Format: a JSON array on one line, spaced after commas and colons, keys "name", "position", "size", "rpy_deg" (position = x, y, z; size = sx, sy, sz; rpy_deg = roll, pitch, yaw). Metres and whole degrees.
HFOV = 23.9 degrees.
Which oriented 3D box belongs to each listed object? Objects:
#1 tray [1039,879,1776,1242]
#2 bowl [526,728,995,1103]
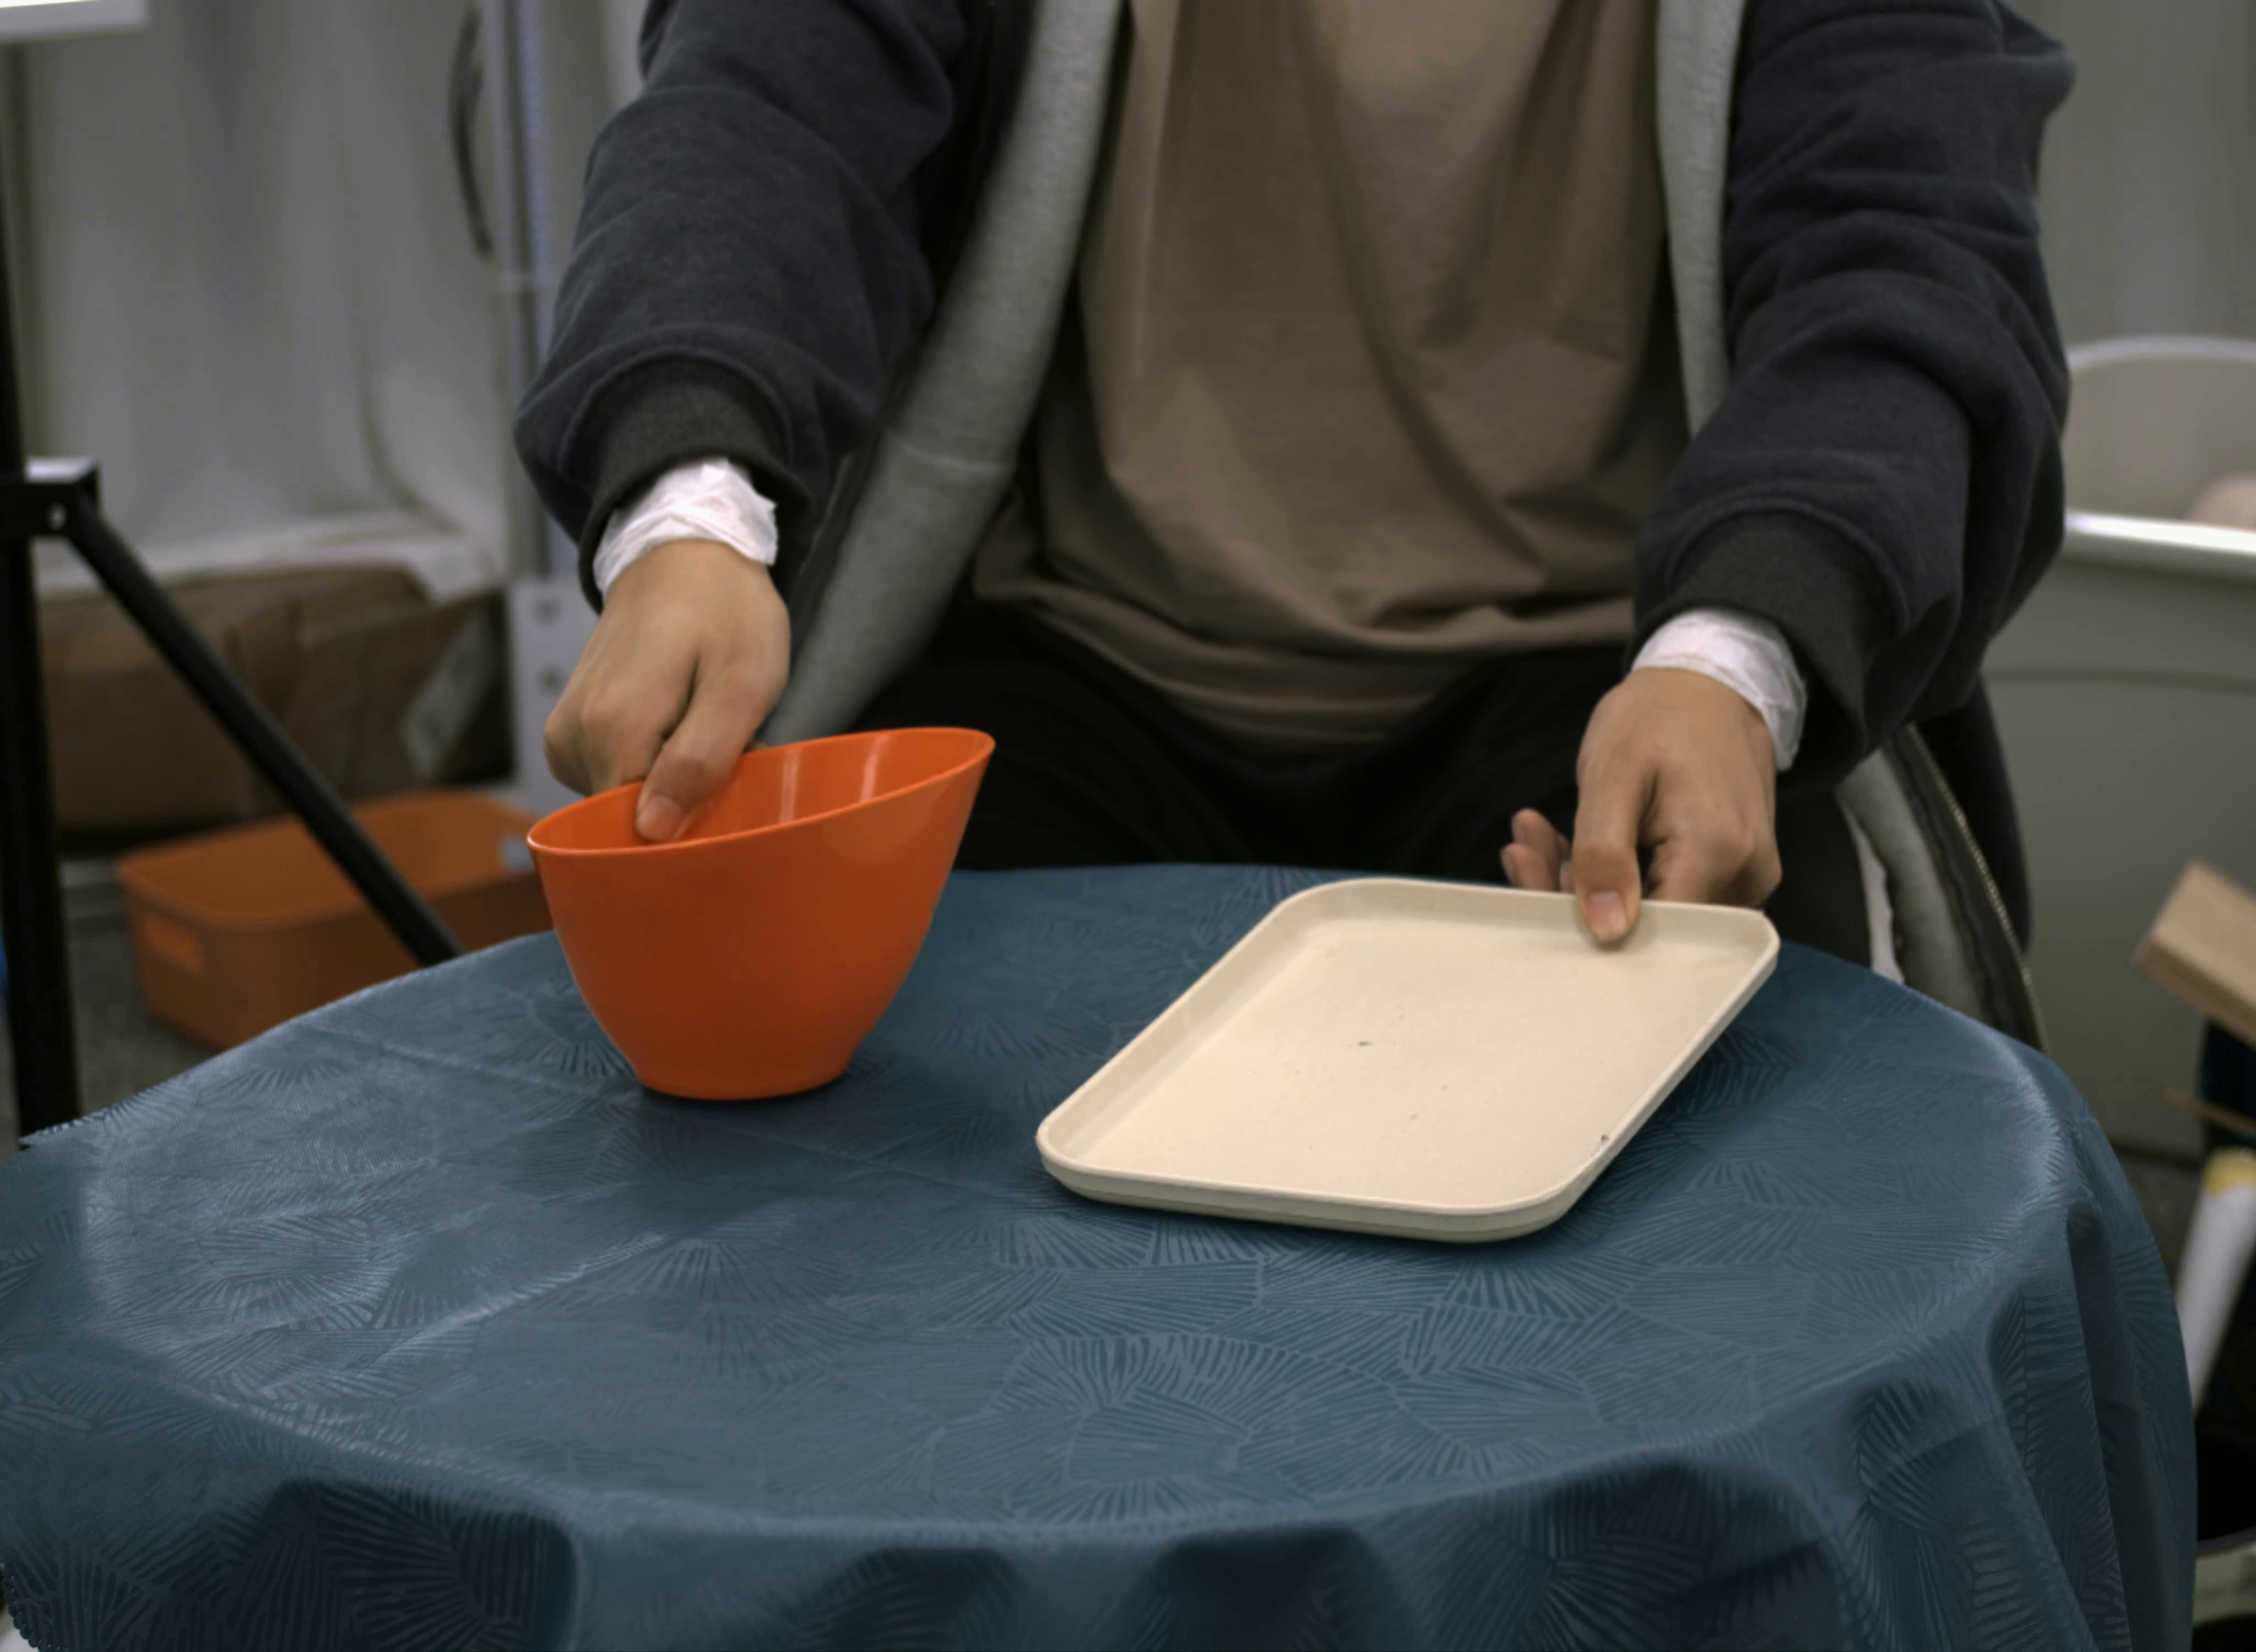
[{"name": "tray", "position": [0.089, 0.070, 1.614], "size": [0.174, 0.017, 0.236], "rpy_deg": [4, 22, 26]}, {"name": "bowl", "position": [-0.113, 0.028, 1.665], "size": [0.147, 0.104, 0.149], "rpy_deg": [-2, 15, -1]}]
